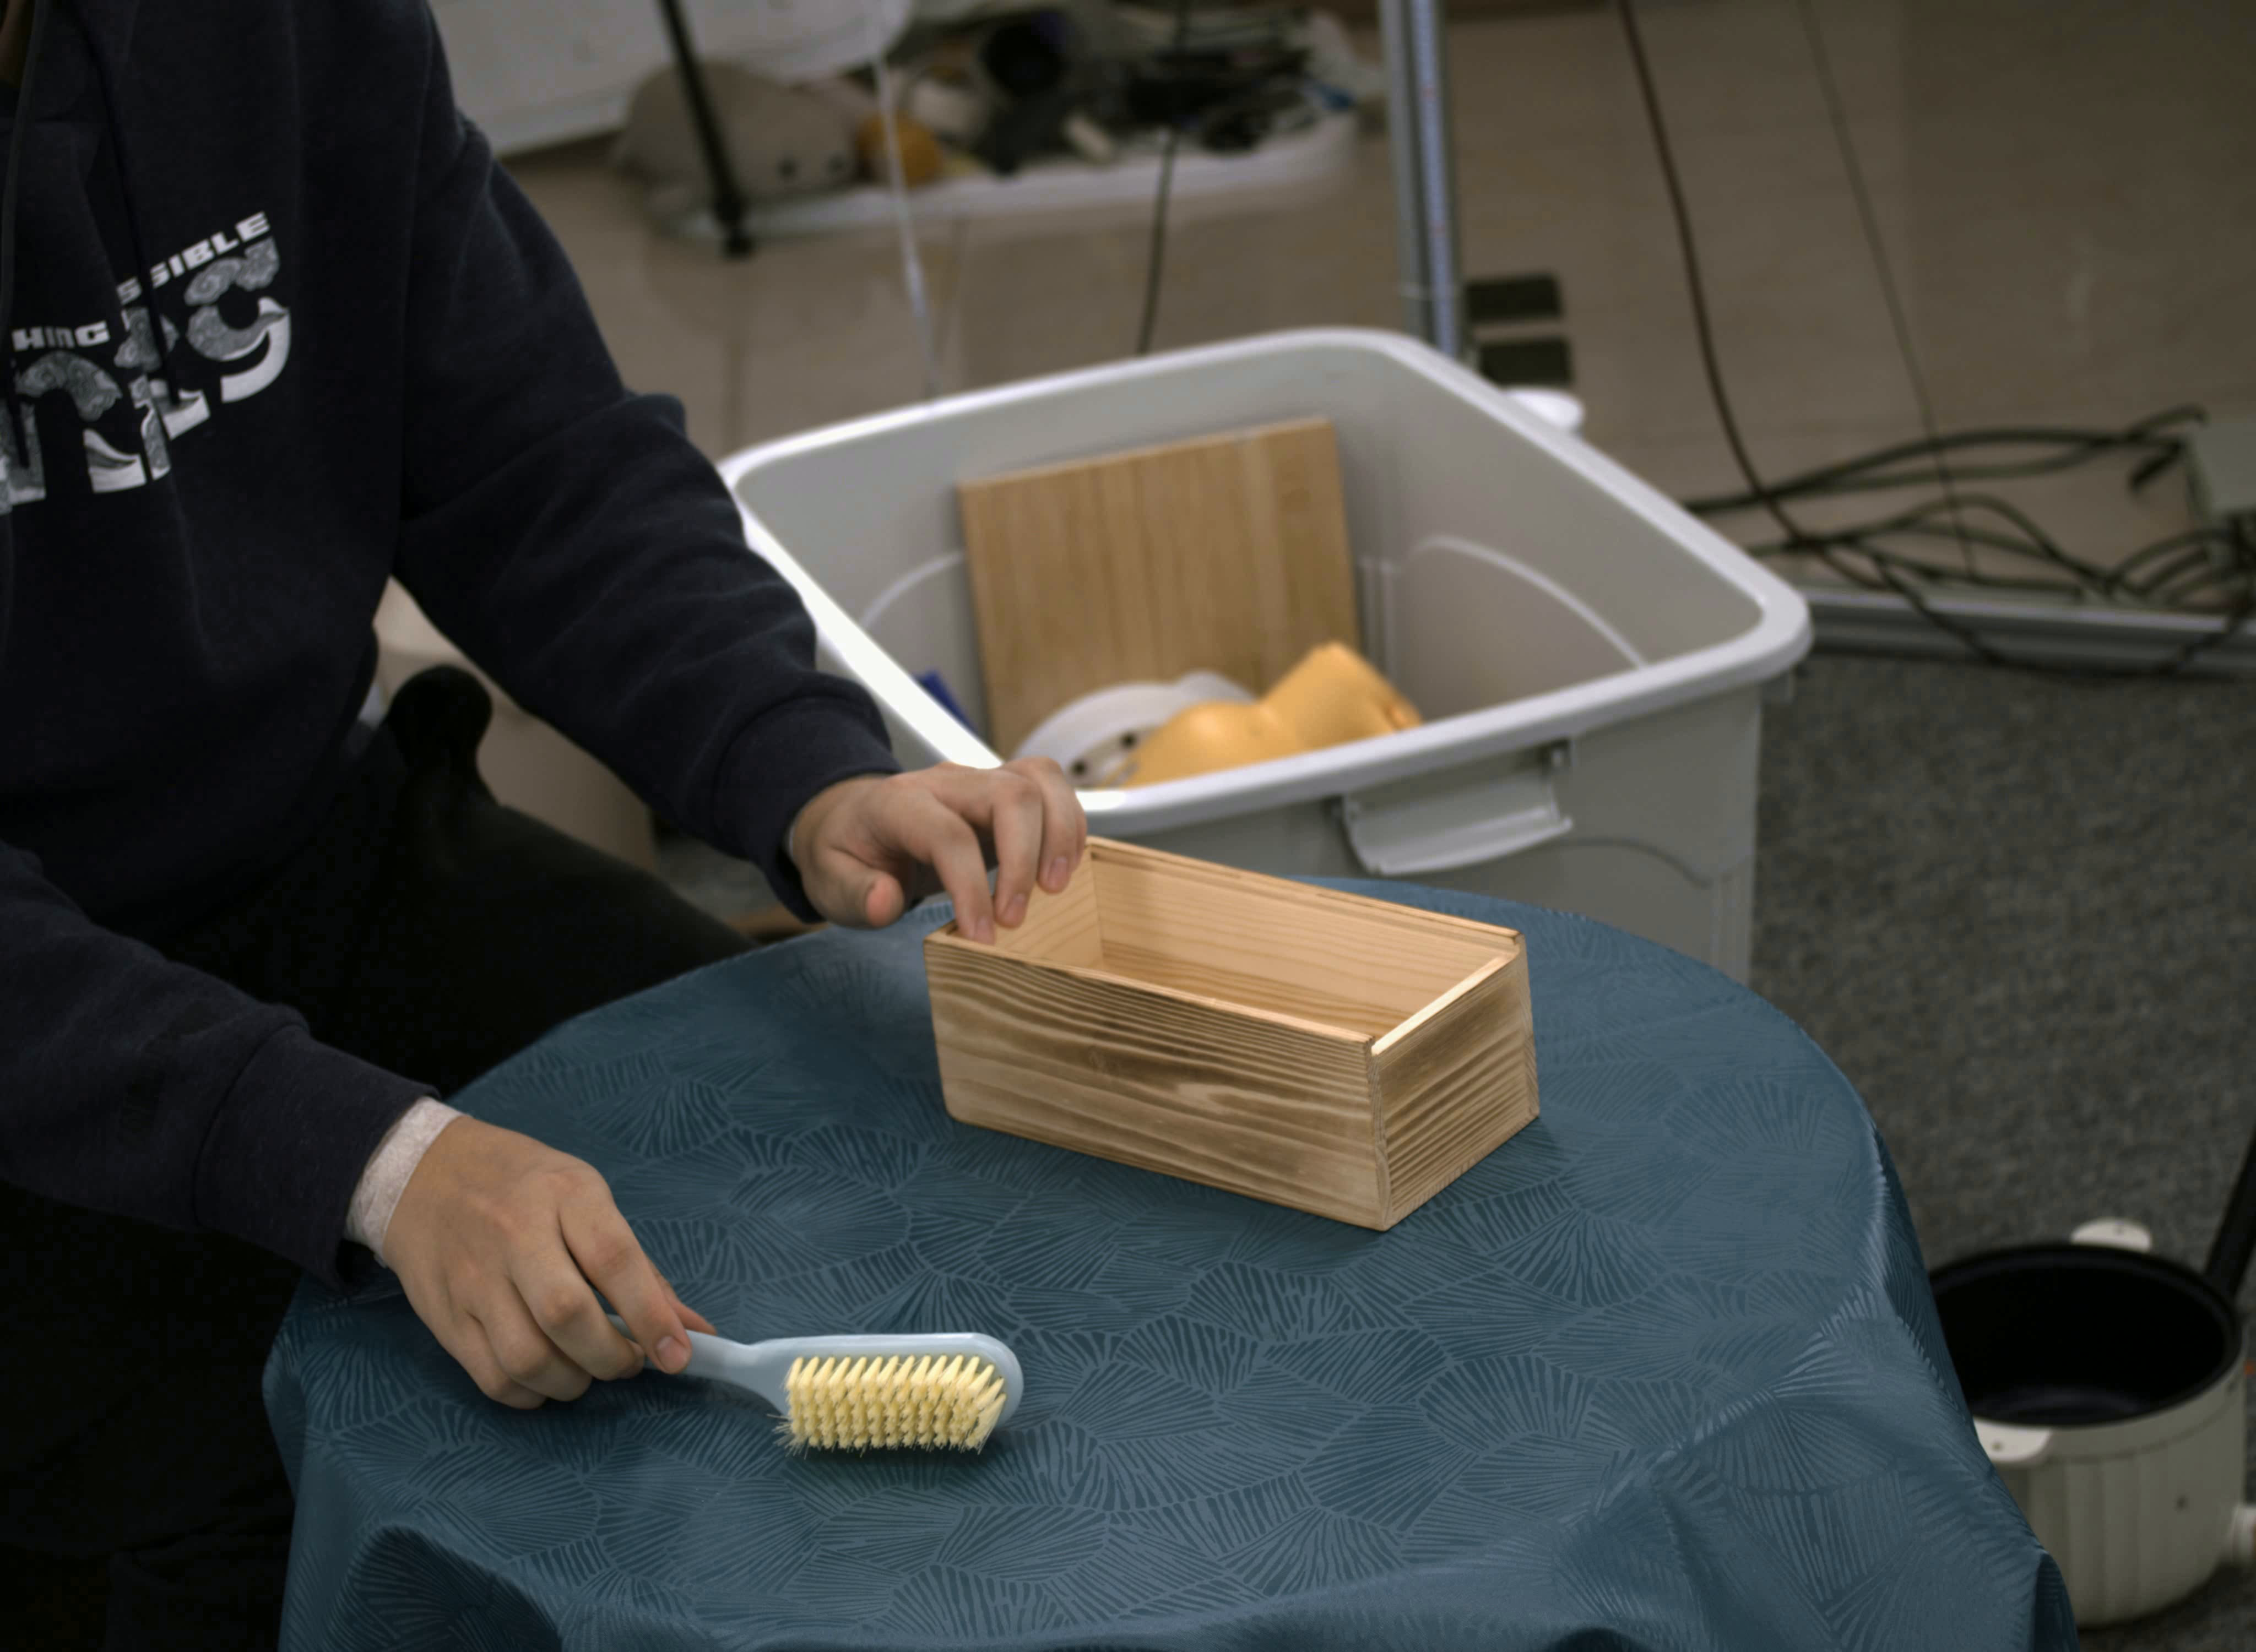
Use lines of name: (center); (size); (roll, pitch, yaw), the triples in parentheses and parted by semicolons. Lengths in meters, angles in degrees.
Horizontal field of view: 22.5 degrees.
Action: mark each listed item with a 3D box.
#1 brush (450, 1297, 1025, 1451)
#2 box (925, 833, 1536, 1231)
brush: (-0.146, 0.193, 2.022); (0.228, 0.038, 0.049); (6, 29, 26)
box: (0.039, 0.076, 2.177); (0.210, 0.081, 0.106); (13, 31, 35)
